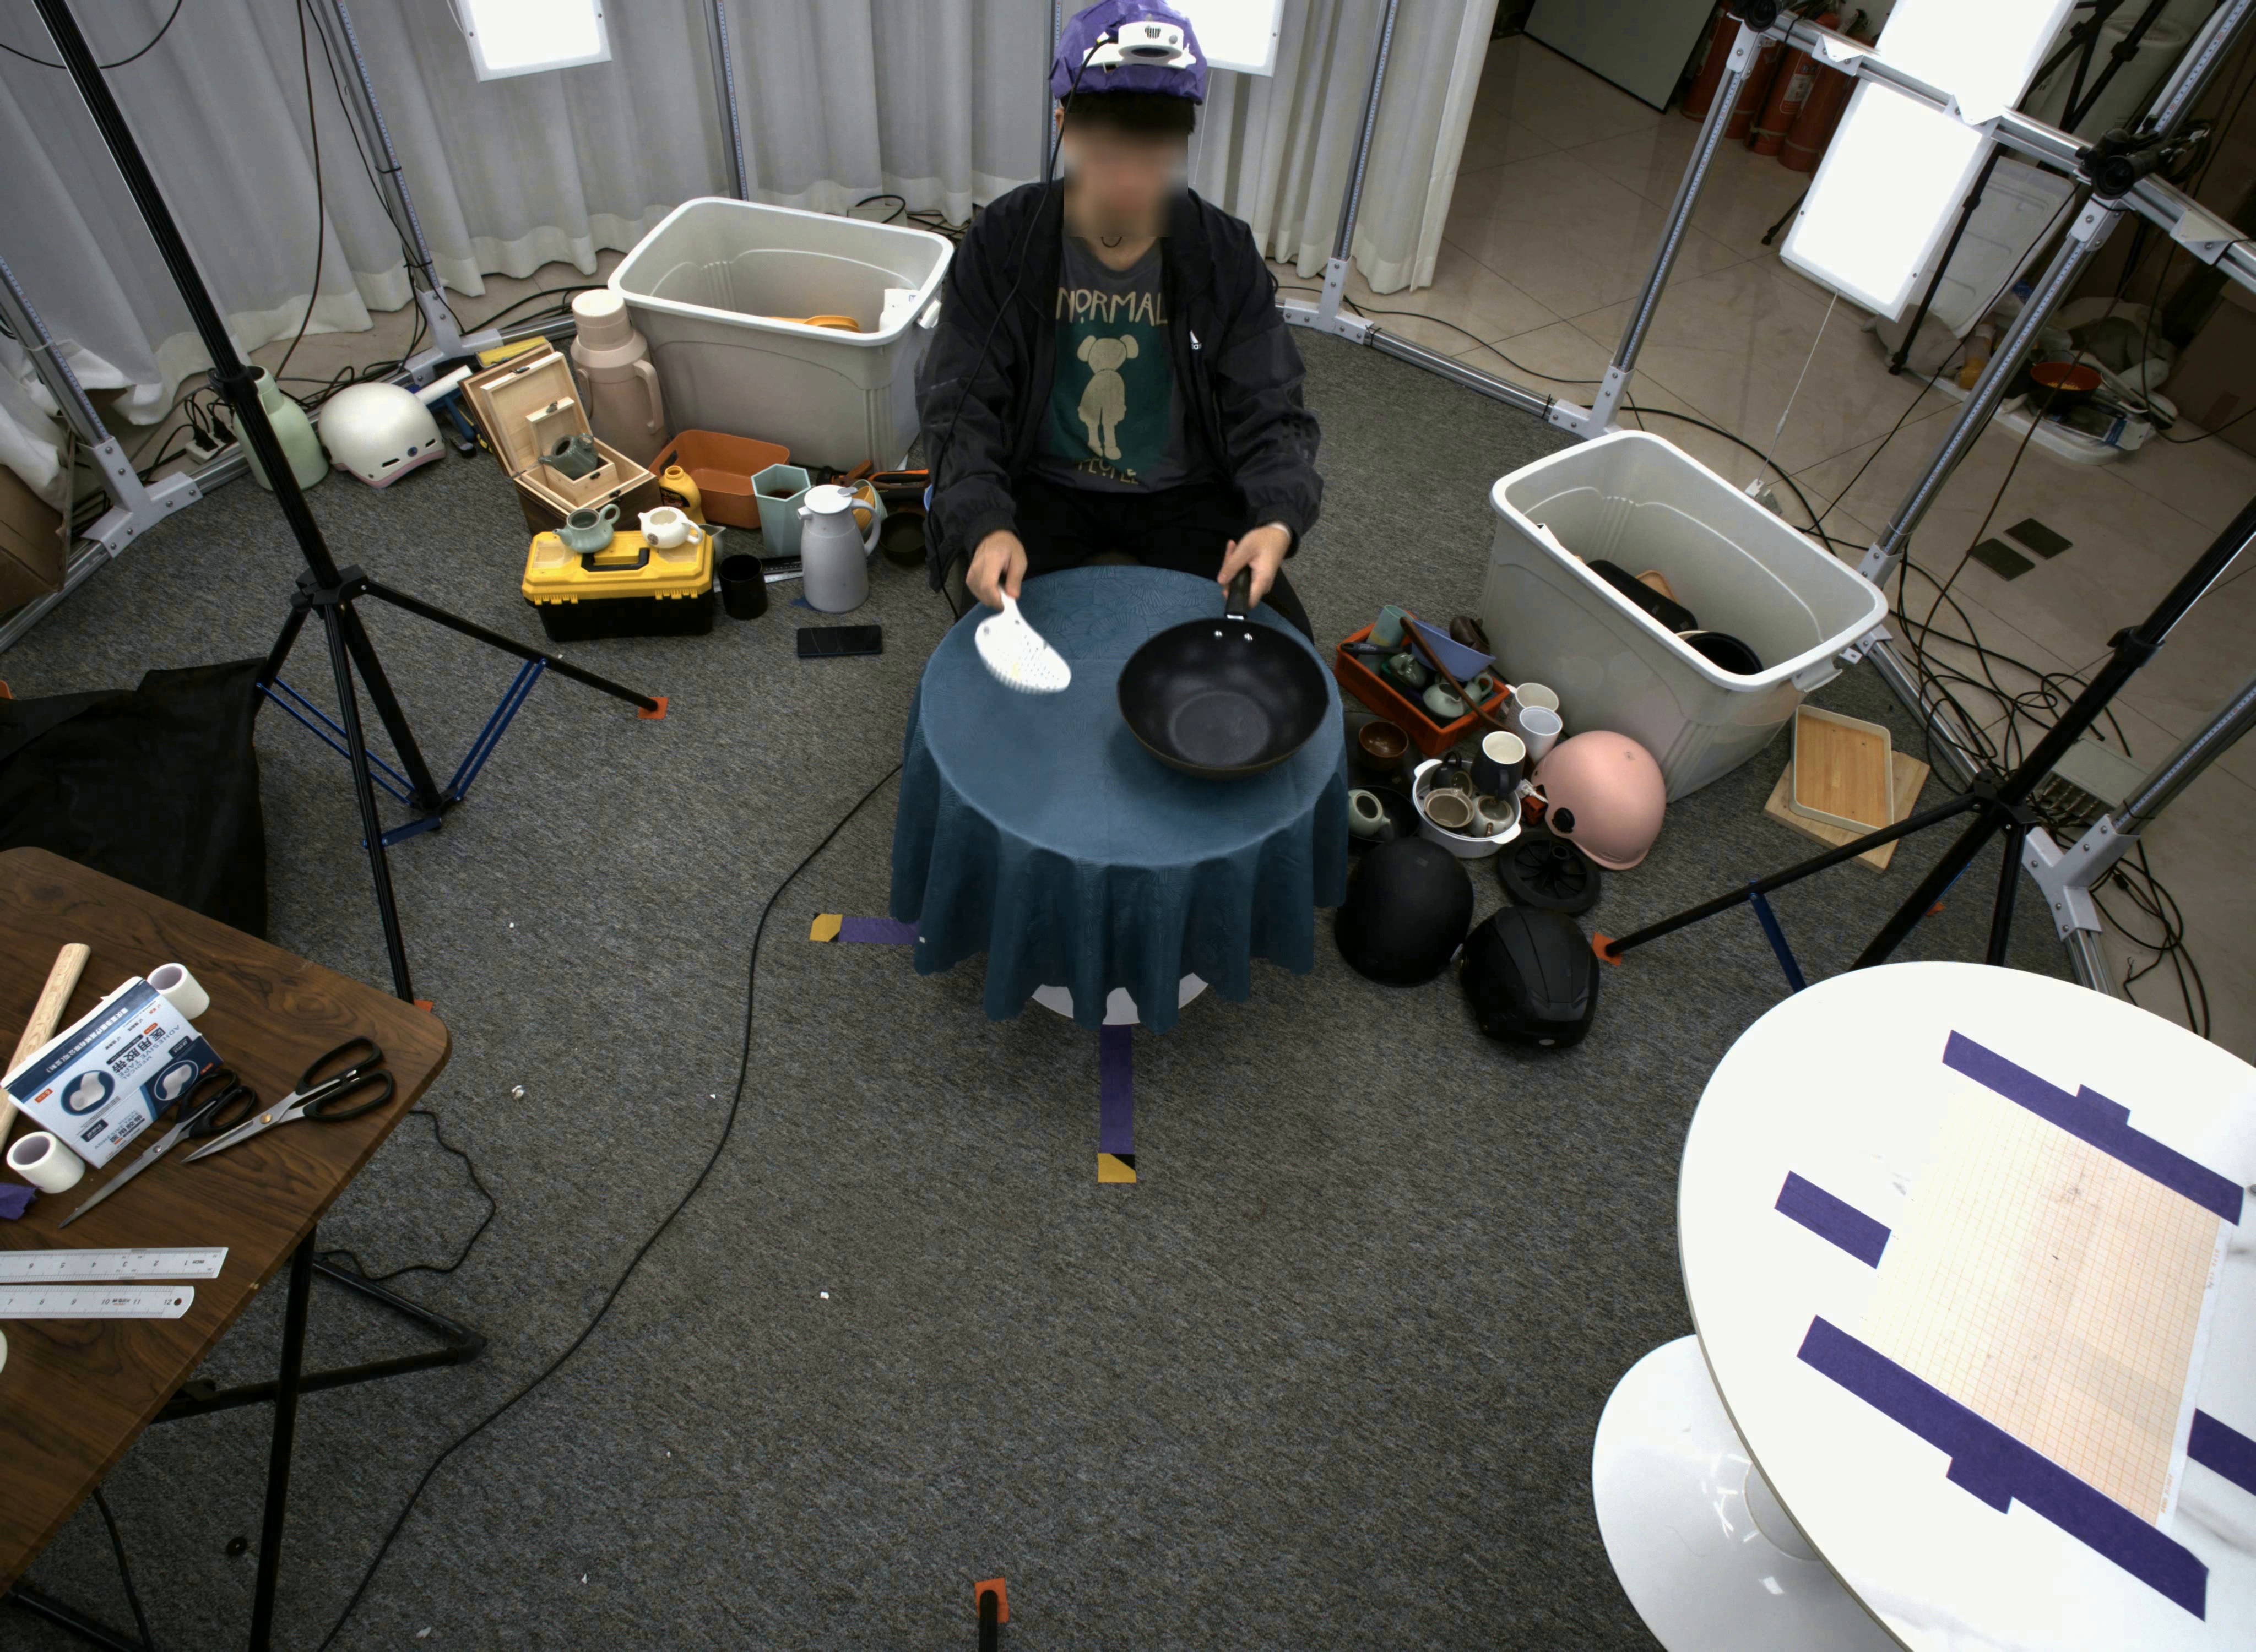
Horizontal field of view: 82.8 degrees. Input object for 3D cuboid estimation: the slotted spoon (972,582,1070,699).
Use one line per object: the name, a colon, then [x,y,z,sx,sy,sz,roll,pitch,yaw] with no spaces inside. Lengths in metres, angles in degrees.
slotted spoon: [-0.164,-0.265,1.760,0.135,0.049,0.356,16,33,-22]

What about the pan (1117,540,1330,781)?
pan: [0.143,-0.228,1.808,0.288,0.085,0.474,8,51,6]
